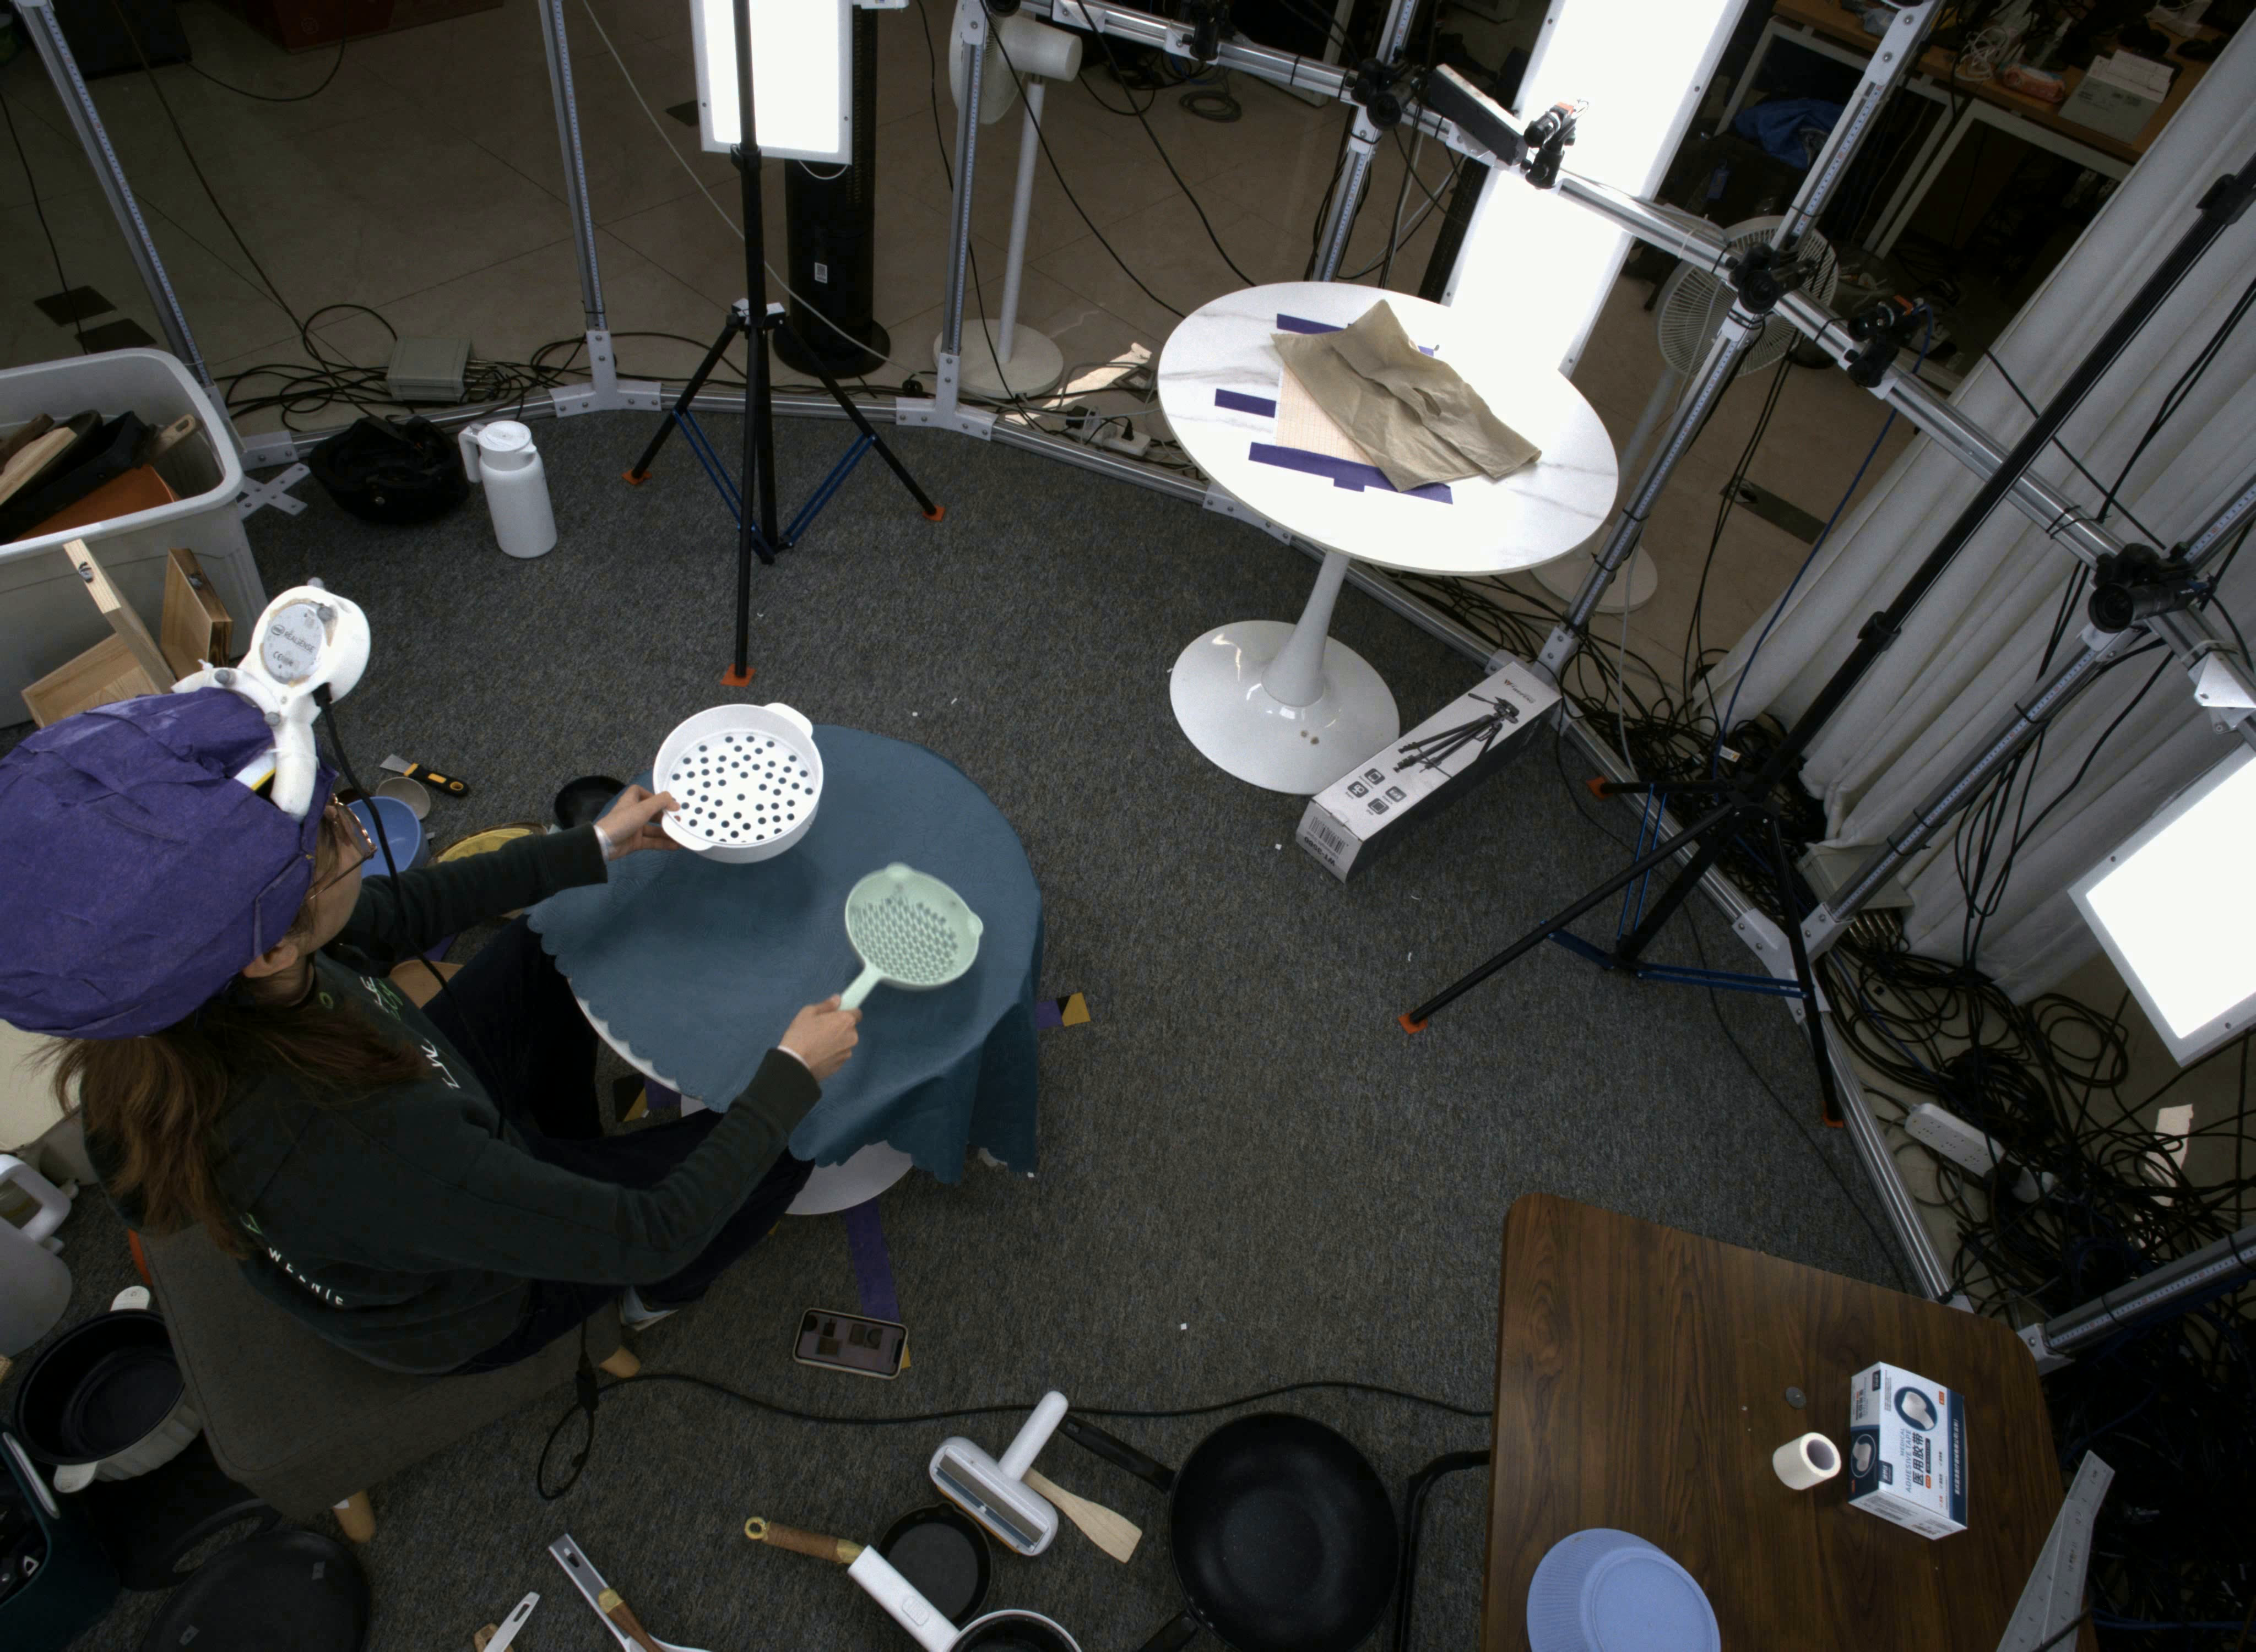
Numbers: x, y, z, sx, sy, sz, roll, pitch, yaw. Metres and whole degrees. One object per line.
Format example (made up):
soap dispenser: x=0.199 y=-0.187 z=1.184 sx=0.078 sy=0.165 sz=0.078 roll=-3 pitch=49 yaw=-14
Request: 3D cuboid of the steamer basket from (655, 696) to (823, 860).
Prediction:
steamer basket: x=-0.479 y=-0.057 z=1.600 sx=0.200 sy=0.070 sz=0.230 roll=31 pitch=60 yaw=2

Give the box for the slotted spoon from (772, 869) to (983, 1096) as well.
slotted spoon: x=-0.301 y=0.181 z=1.506 sx=0.168 sy=0.076 sz=0.357 roll=33 pitch=32 yaw=2
